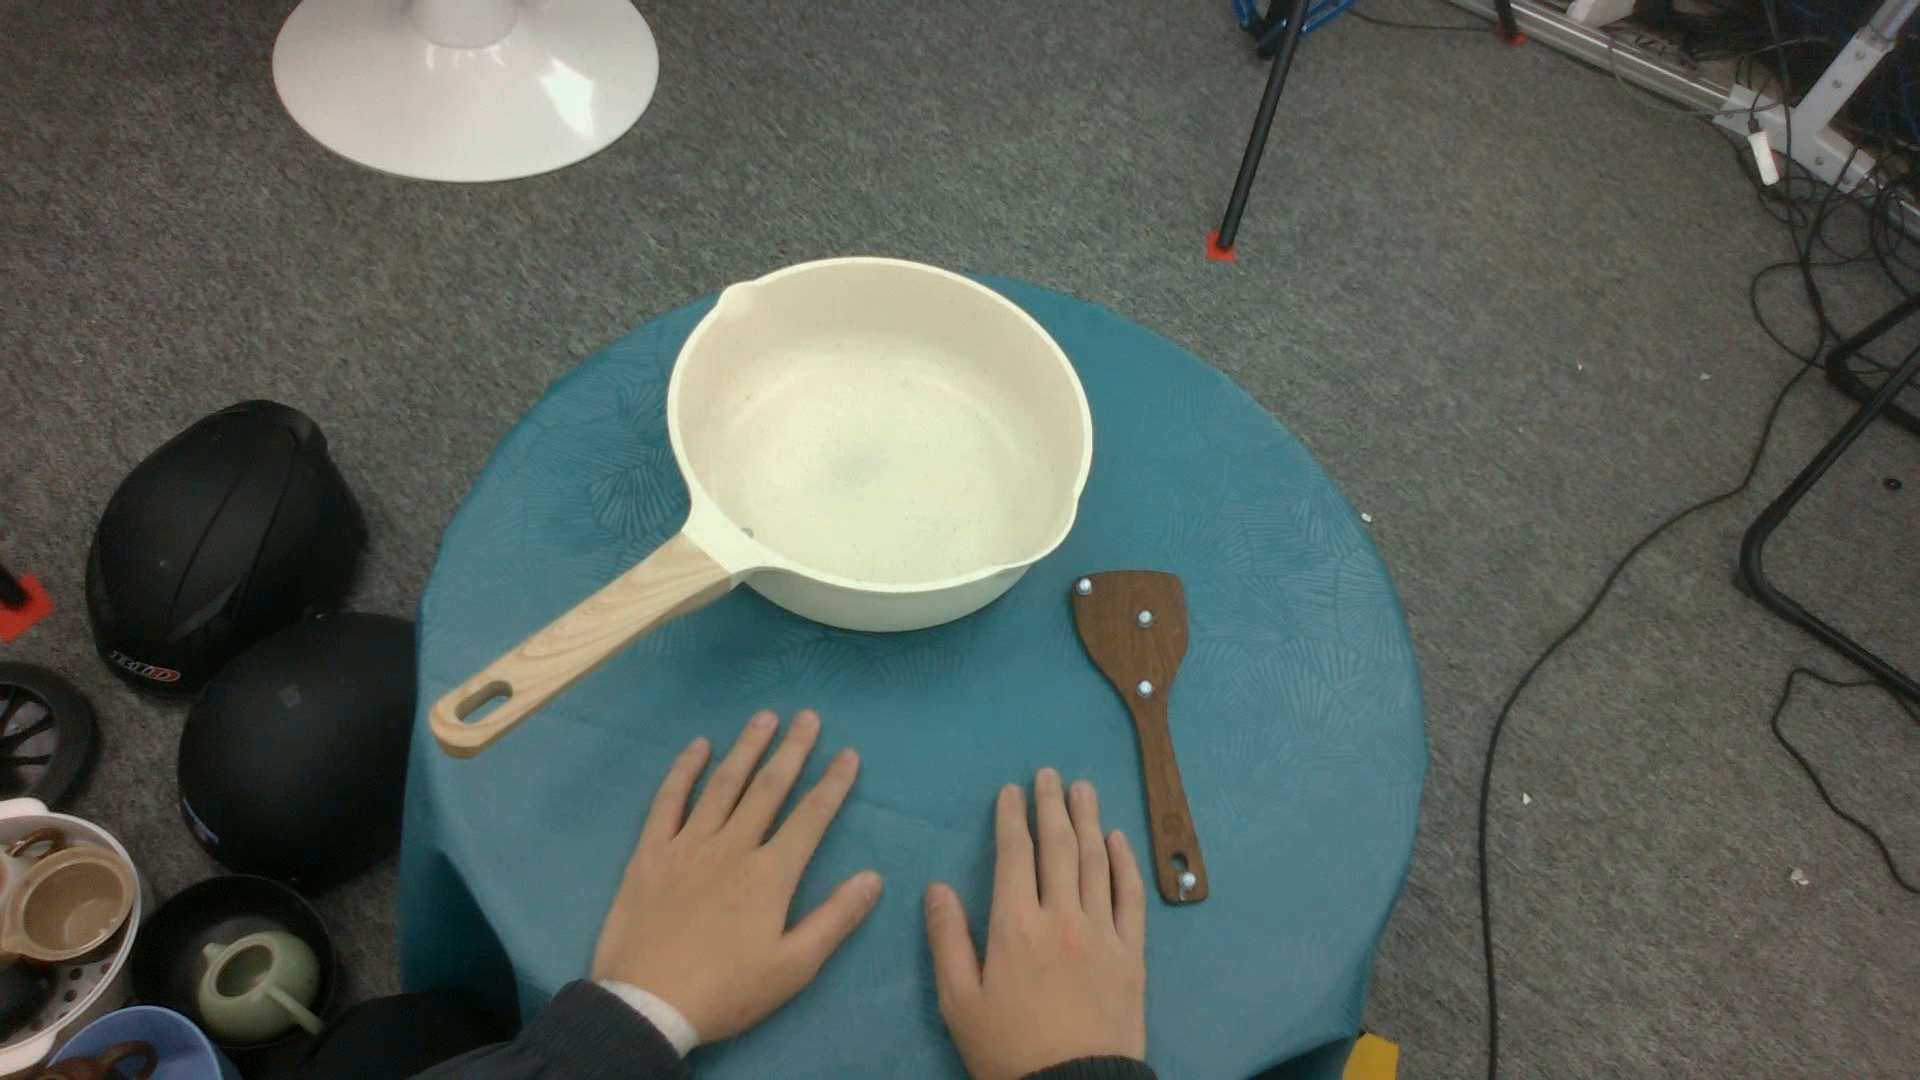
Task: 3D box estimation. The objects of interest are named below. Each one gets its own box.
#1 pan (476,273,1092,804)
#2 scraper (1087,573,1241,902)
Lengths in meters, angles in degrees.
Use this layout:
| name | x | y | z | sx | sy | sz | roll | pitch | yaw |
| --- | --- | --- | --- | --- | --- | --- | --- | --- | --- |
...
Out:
| name | x | y | z | sx | sy | sz | roll | pitch | yaw |
| --- | --- | --- | --- | --- | --- | --- | --- | --- | --- |
| pan | -0.103 | 0.007 | 0.806 | 0.263 | 0.101 | 0.437 | 35 | 59 | 15 |
| scraper | 0.129 | 0.112 | 0.817 | 0.076 | 0.011 | 0.212 | -4 | 56 | -9 |
